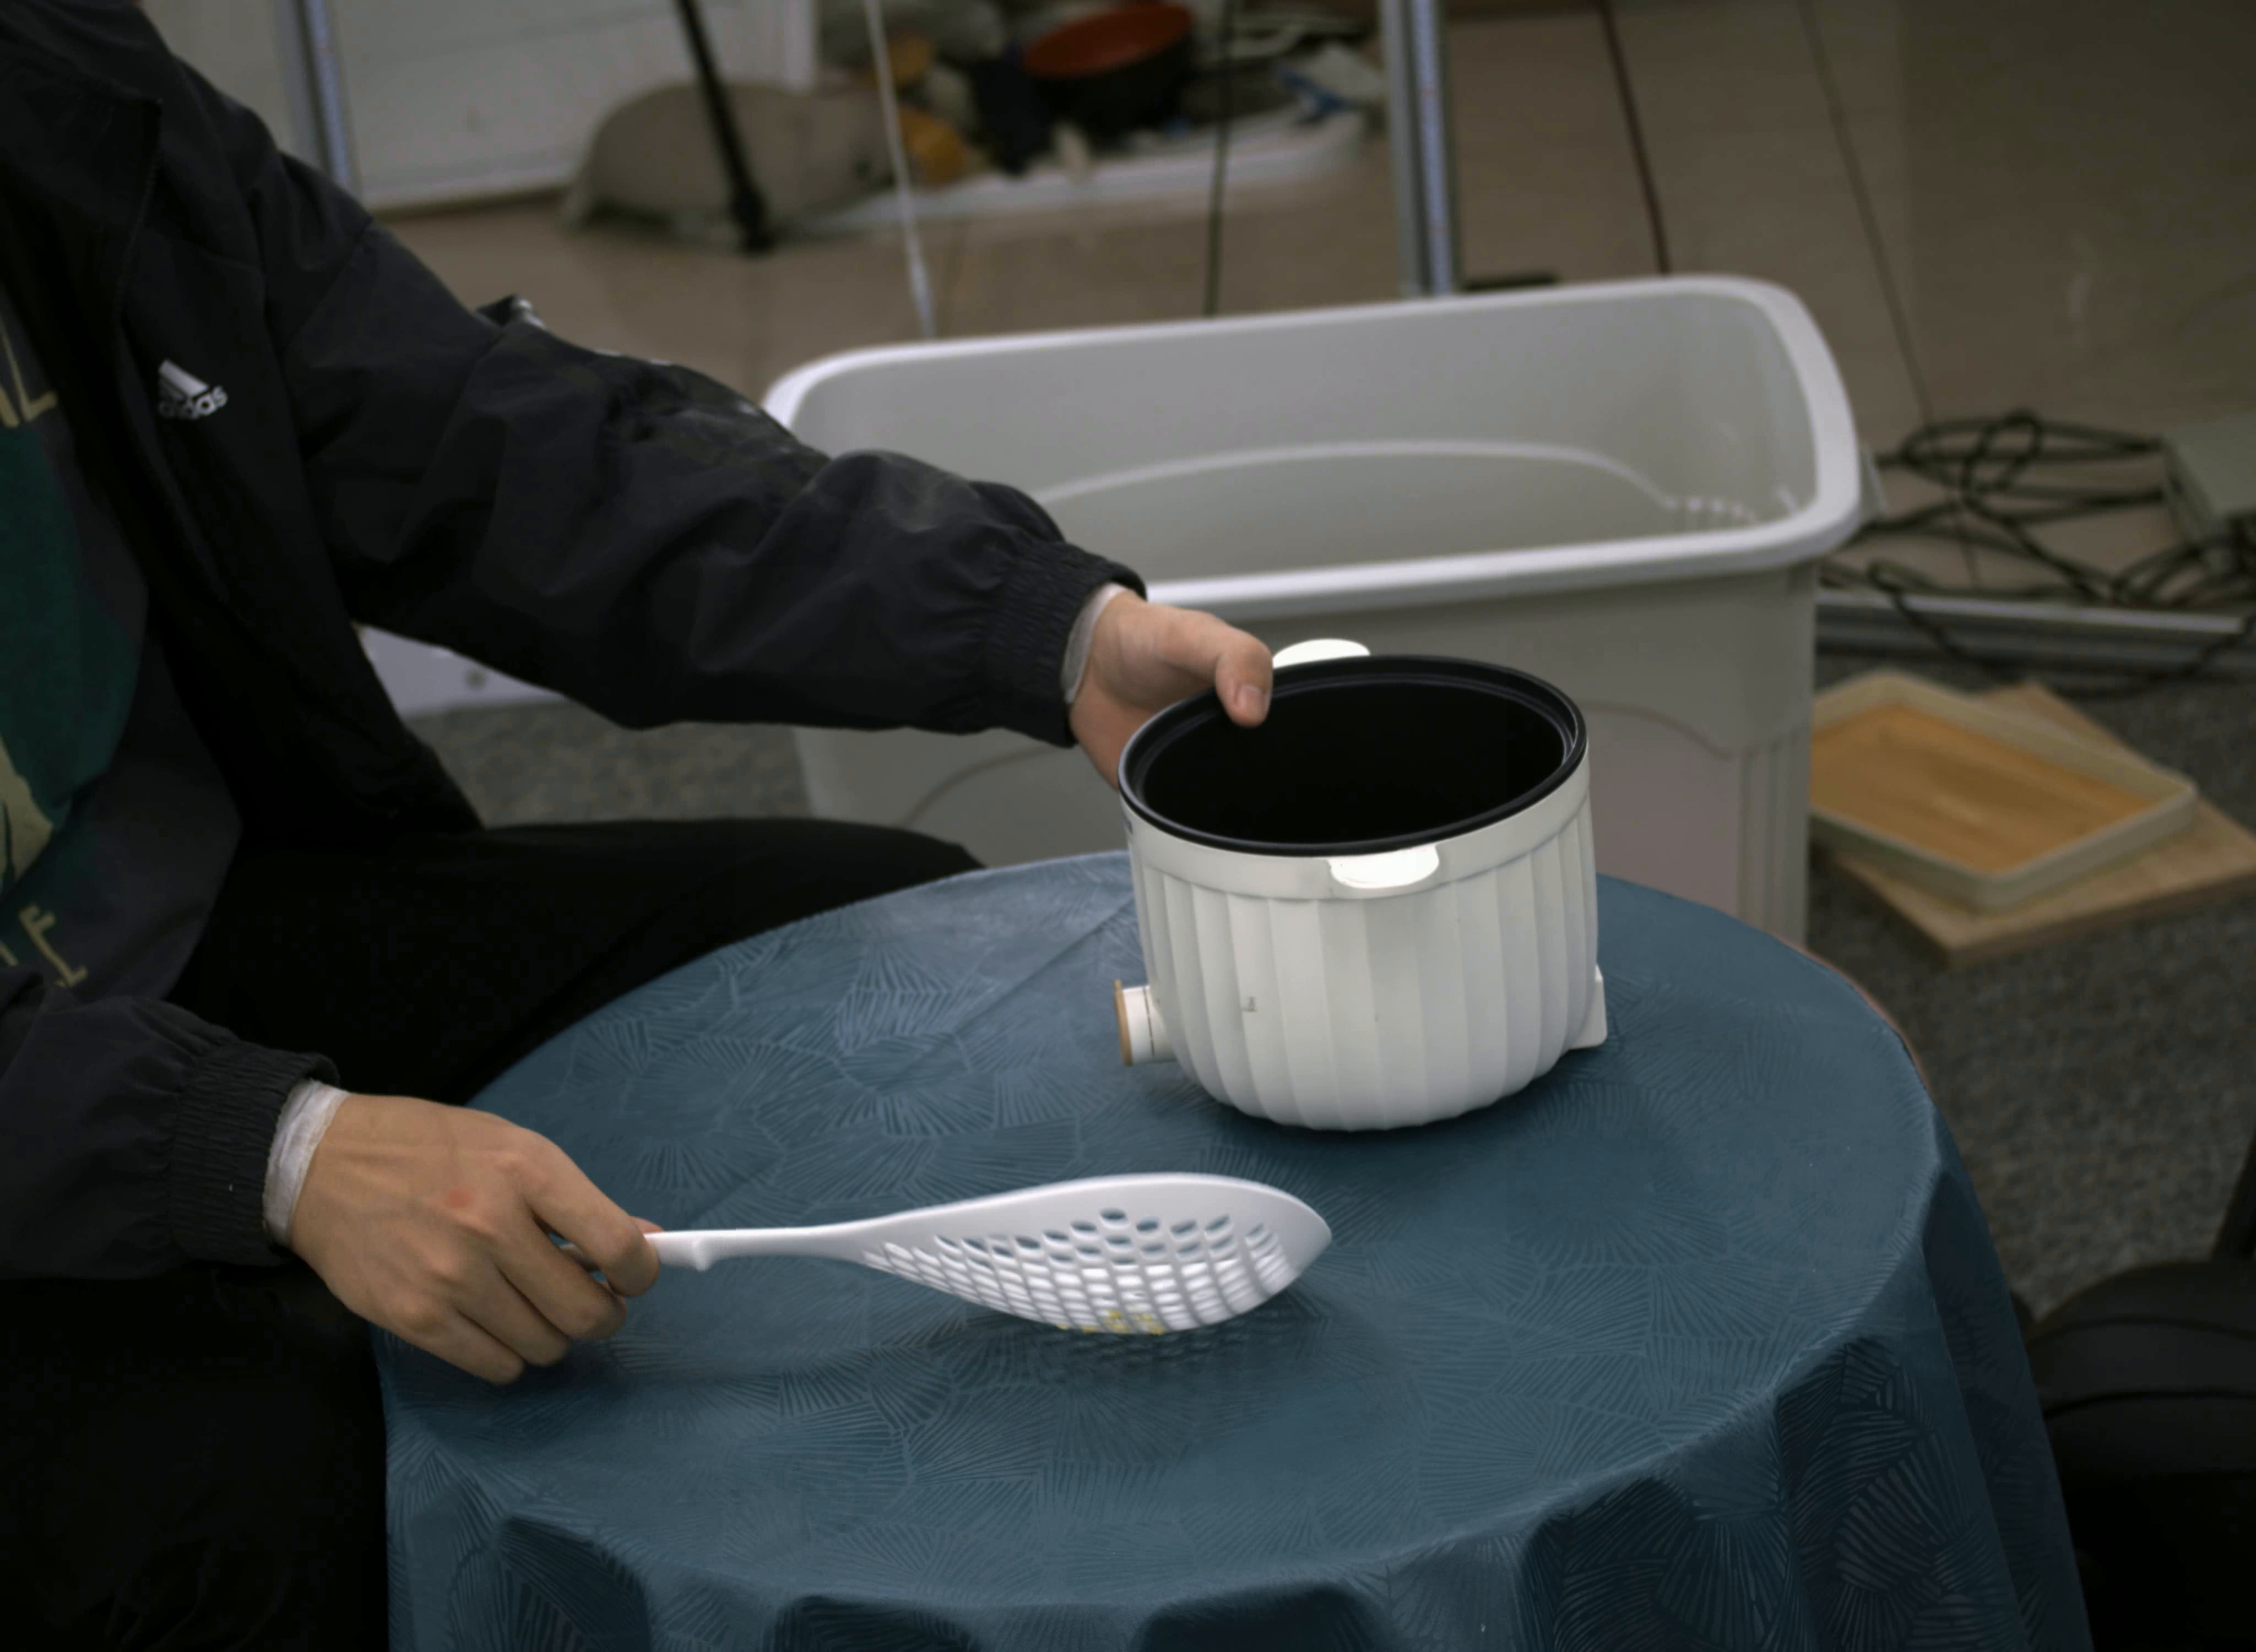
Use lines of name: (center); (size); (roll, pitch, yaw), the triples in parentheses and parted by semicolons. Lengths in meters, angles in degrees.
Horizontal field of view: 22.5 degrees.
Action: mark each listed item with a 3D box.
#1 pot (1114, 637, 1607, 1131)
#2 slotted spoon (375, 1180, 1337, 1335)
pot: (0.088, 0.031, 2.191); (0.190, 0.145, 0.237); (-5, 24, -4)
slotted spoon: (-0.099, 0.159, 2.036); (0.347, 0.050, 0.138); (0, -13, 10)
